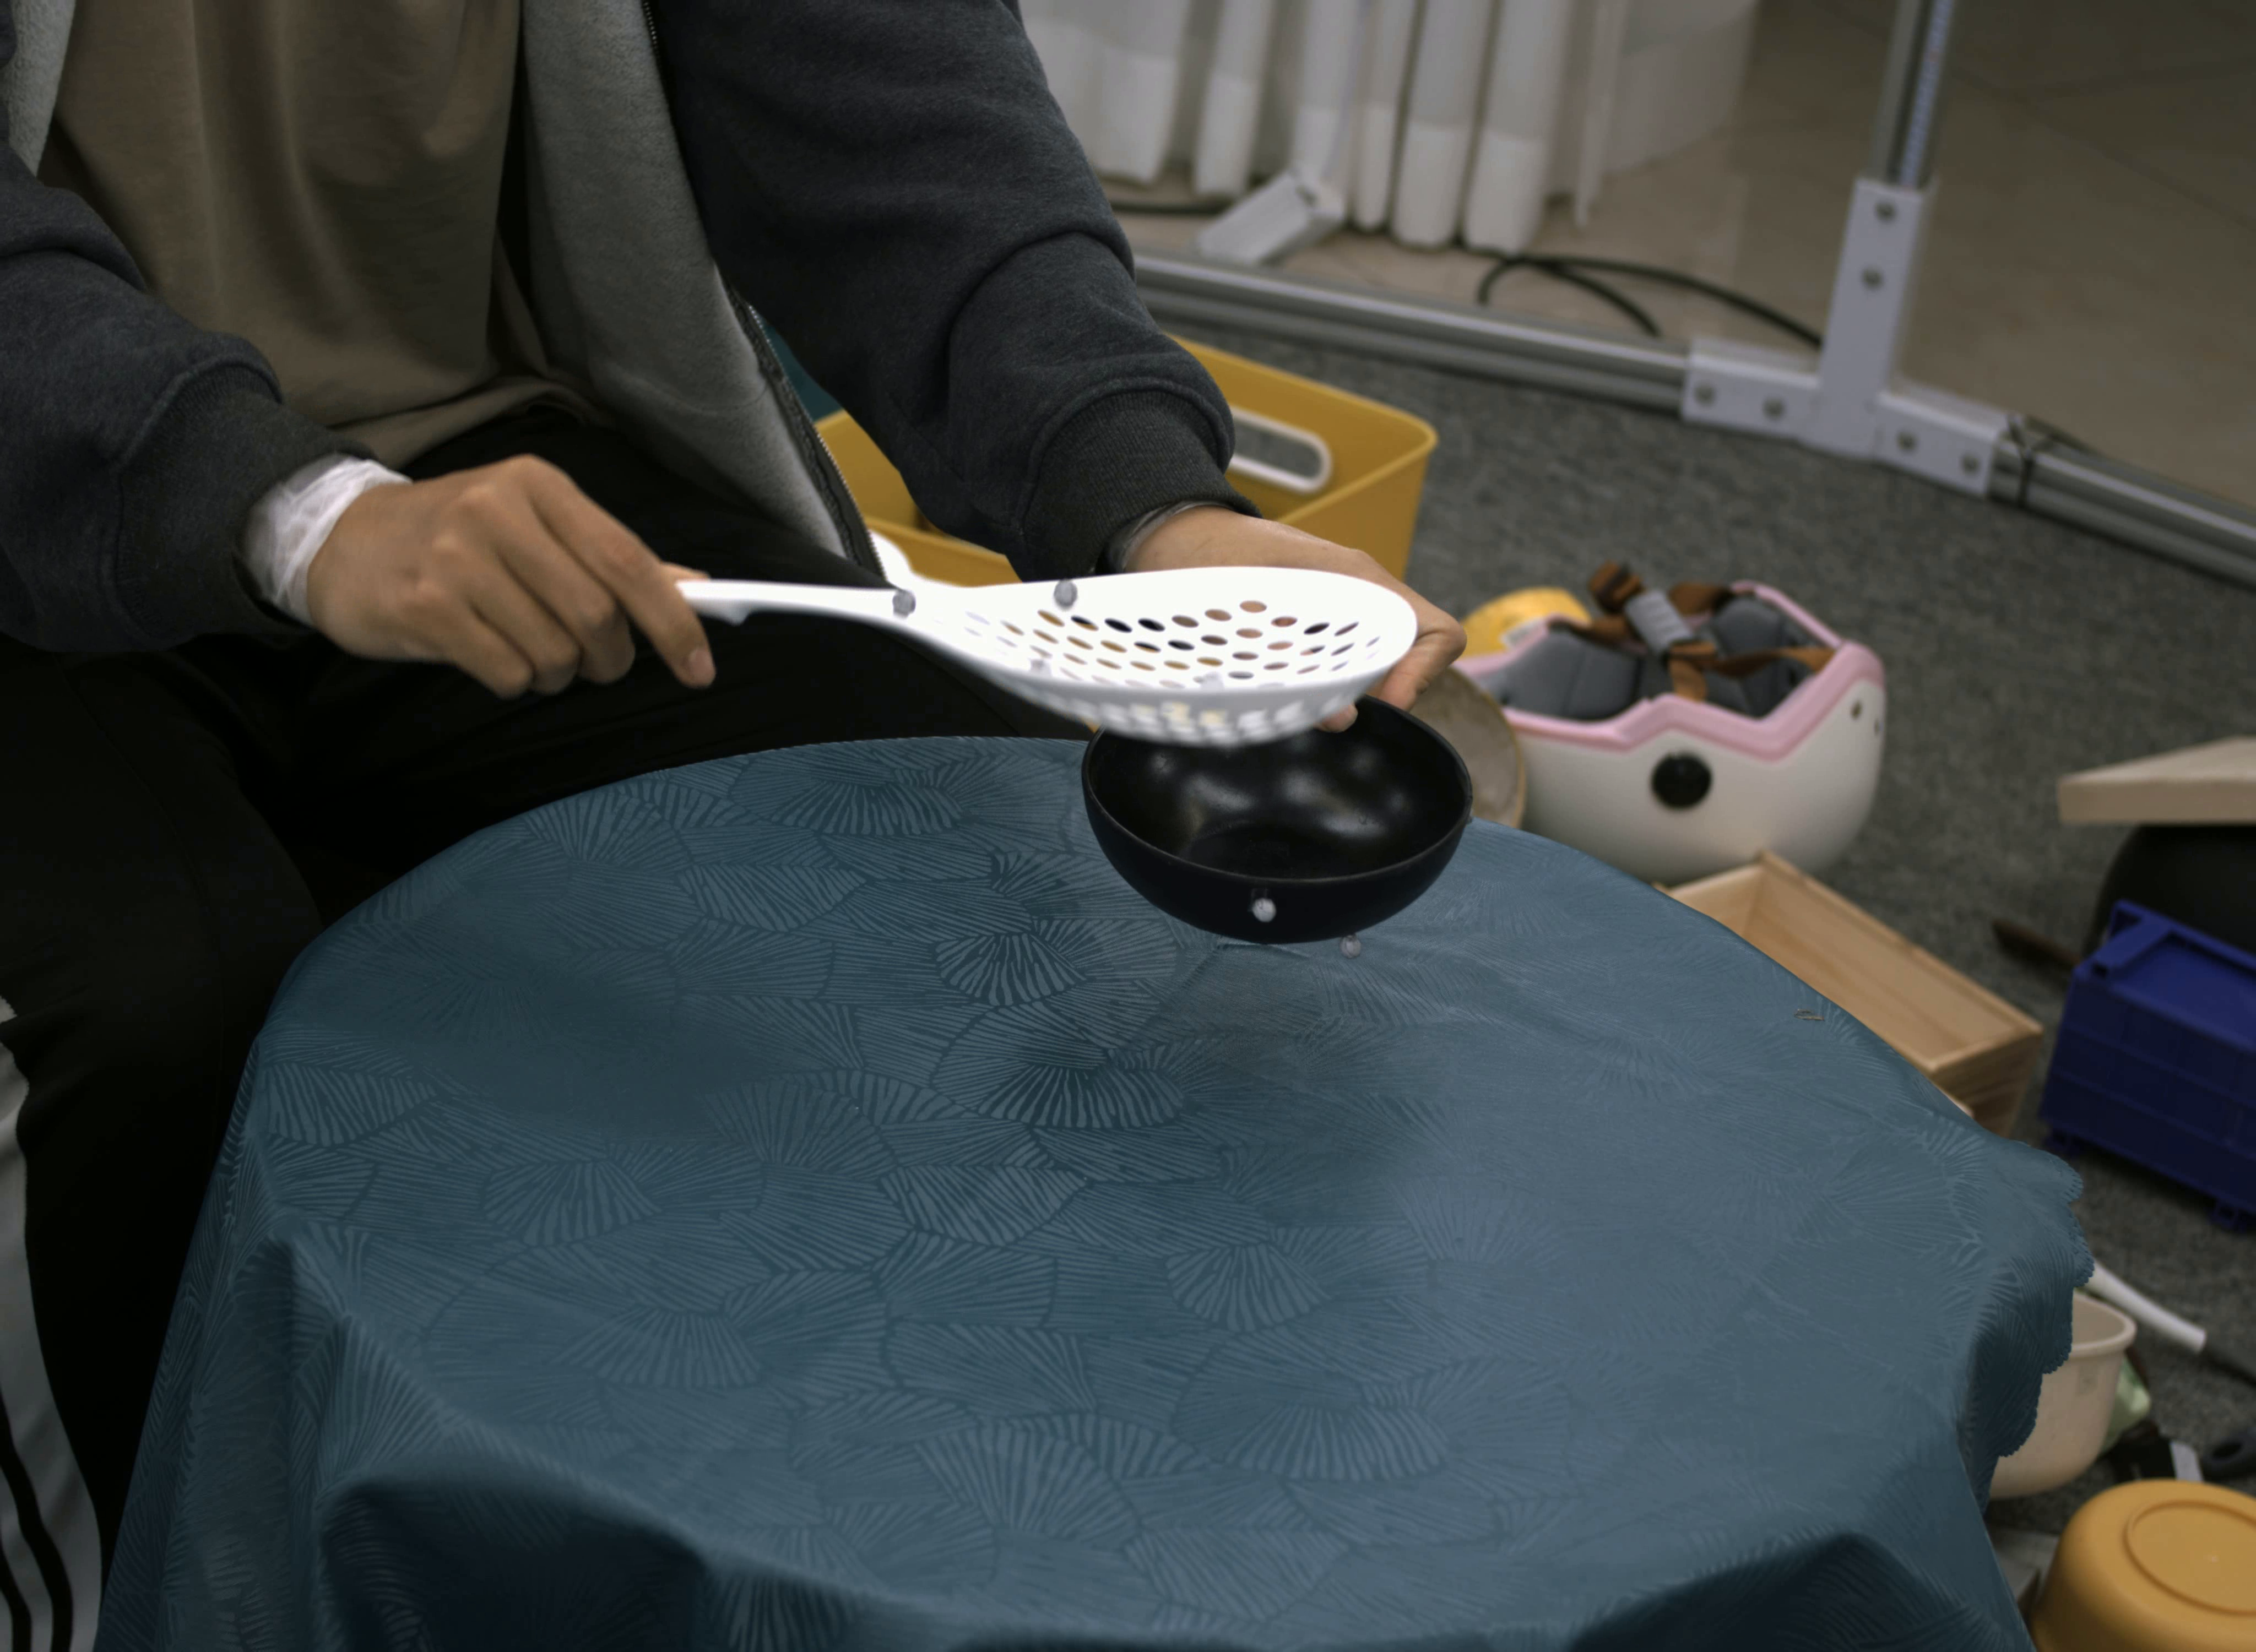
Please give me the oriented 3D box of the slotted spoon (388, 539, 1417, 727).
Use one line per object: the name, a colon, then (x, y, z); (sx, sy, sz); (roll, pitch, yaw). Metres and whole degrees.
slotted spoon: (-0.078, -0.066, 1.768); (0.348, 0.050, 0.137); (6, 19, 11)
